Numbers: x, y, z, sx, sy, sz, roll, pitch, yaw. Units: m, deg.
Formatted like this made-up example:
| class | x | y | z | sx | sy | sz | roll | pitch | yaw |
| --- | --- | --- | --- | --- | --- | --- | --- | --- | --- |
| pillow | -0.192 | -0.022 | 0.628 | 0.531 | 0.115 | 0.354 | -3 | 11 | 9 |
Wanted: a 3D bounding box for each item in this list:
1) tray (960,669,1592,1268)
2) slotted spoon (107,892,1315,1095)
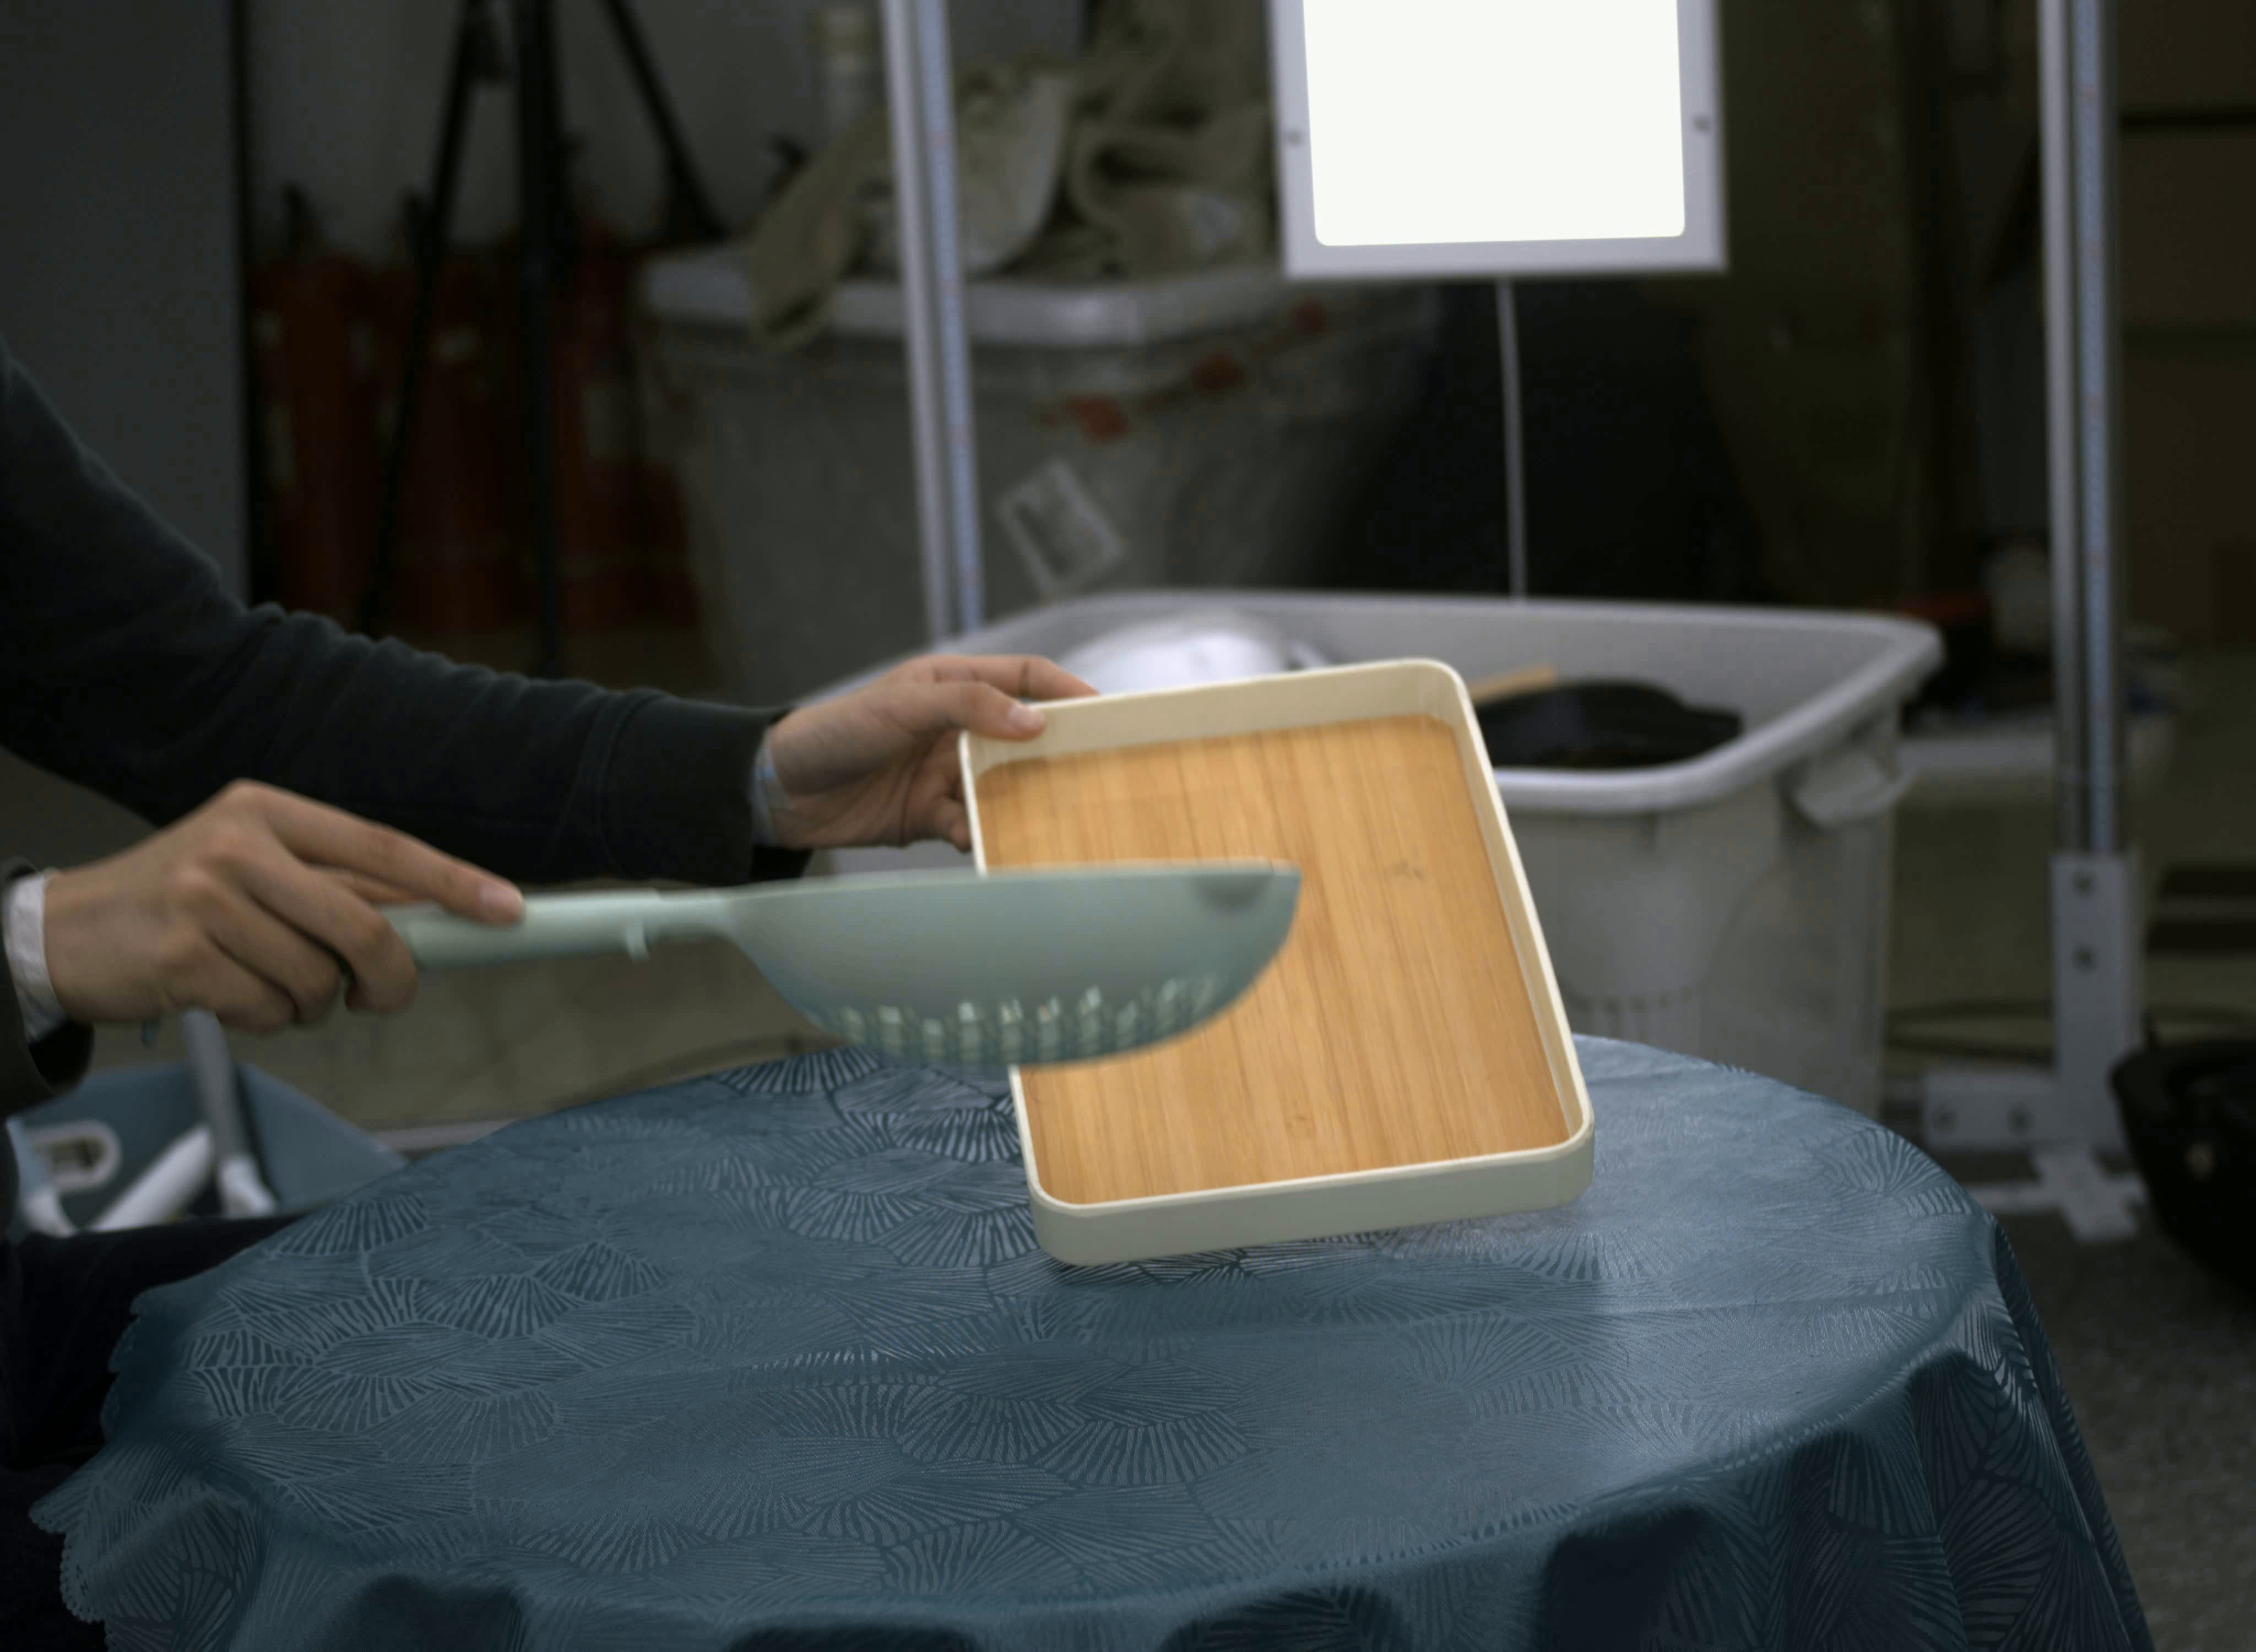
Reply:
| class | x | y | z | sx | sy | sz | roll | pitch | yaw |
| --- | --- | --- | --- | --- | --- | --- | --- | --- | --- |
| tray | 0.047 | 0.044 | 1.926 | 0.191 | 0.027 | 0.300 | -7 | 35 | -1 |
| slotted spoon | -0.125 | 0.039 | 1.658 | 0.358 | 0.075 | 0.169 | 6 | -3 | 1 |
